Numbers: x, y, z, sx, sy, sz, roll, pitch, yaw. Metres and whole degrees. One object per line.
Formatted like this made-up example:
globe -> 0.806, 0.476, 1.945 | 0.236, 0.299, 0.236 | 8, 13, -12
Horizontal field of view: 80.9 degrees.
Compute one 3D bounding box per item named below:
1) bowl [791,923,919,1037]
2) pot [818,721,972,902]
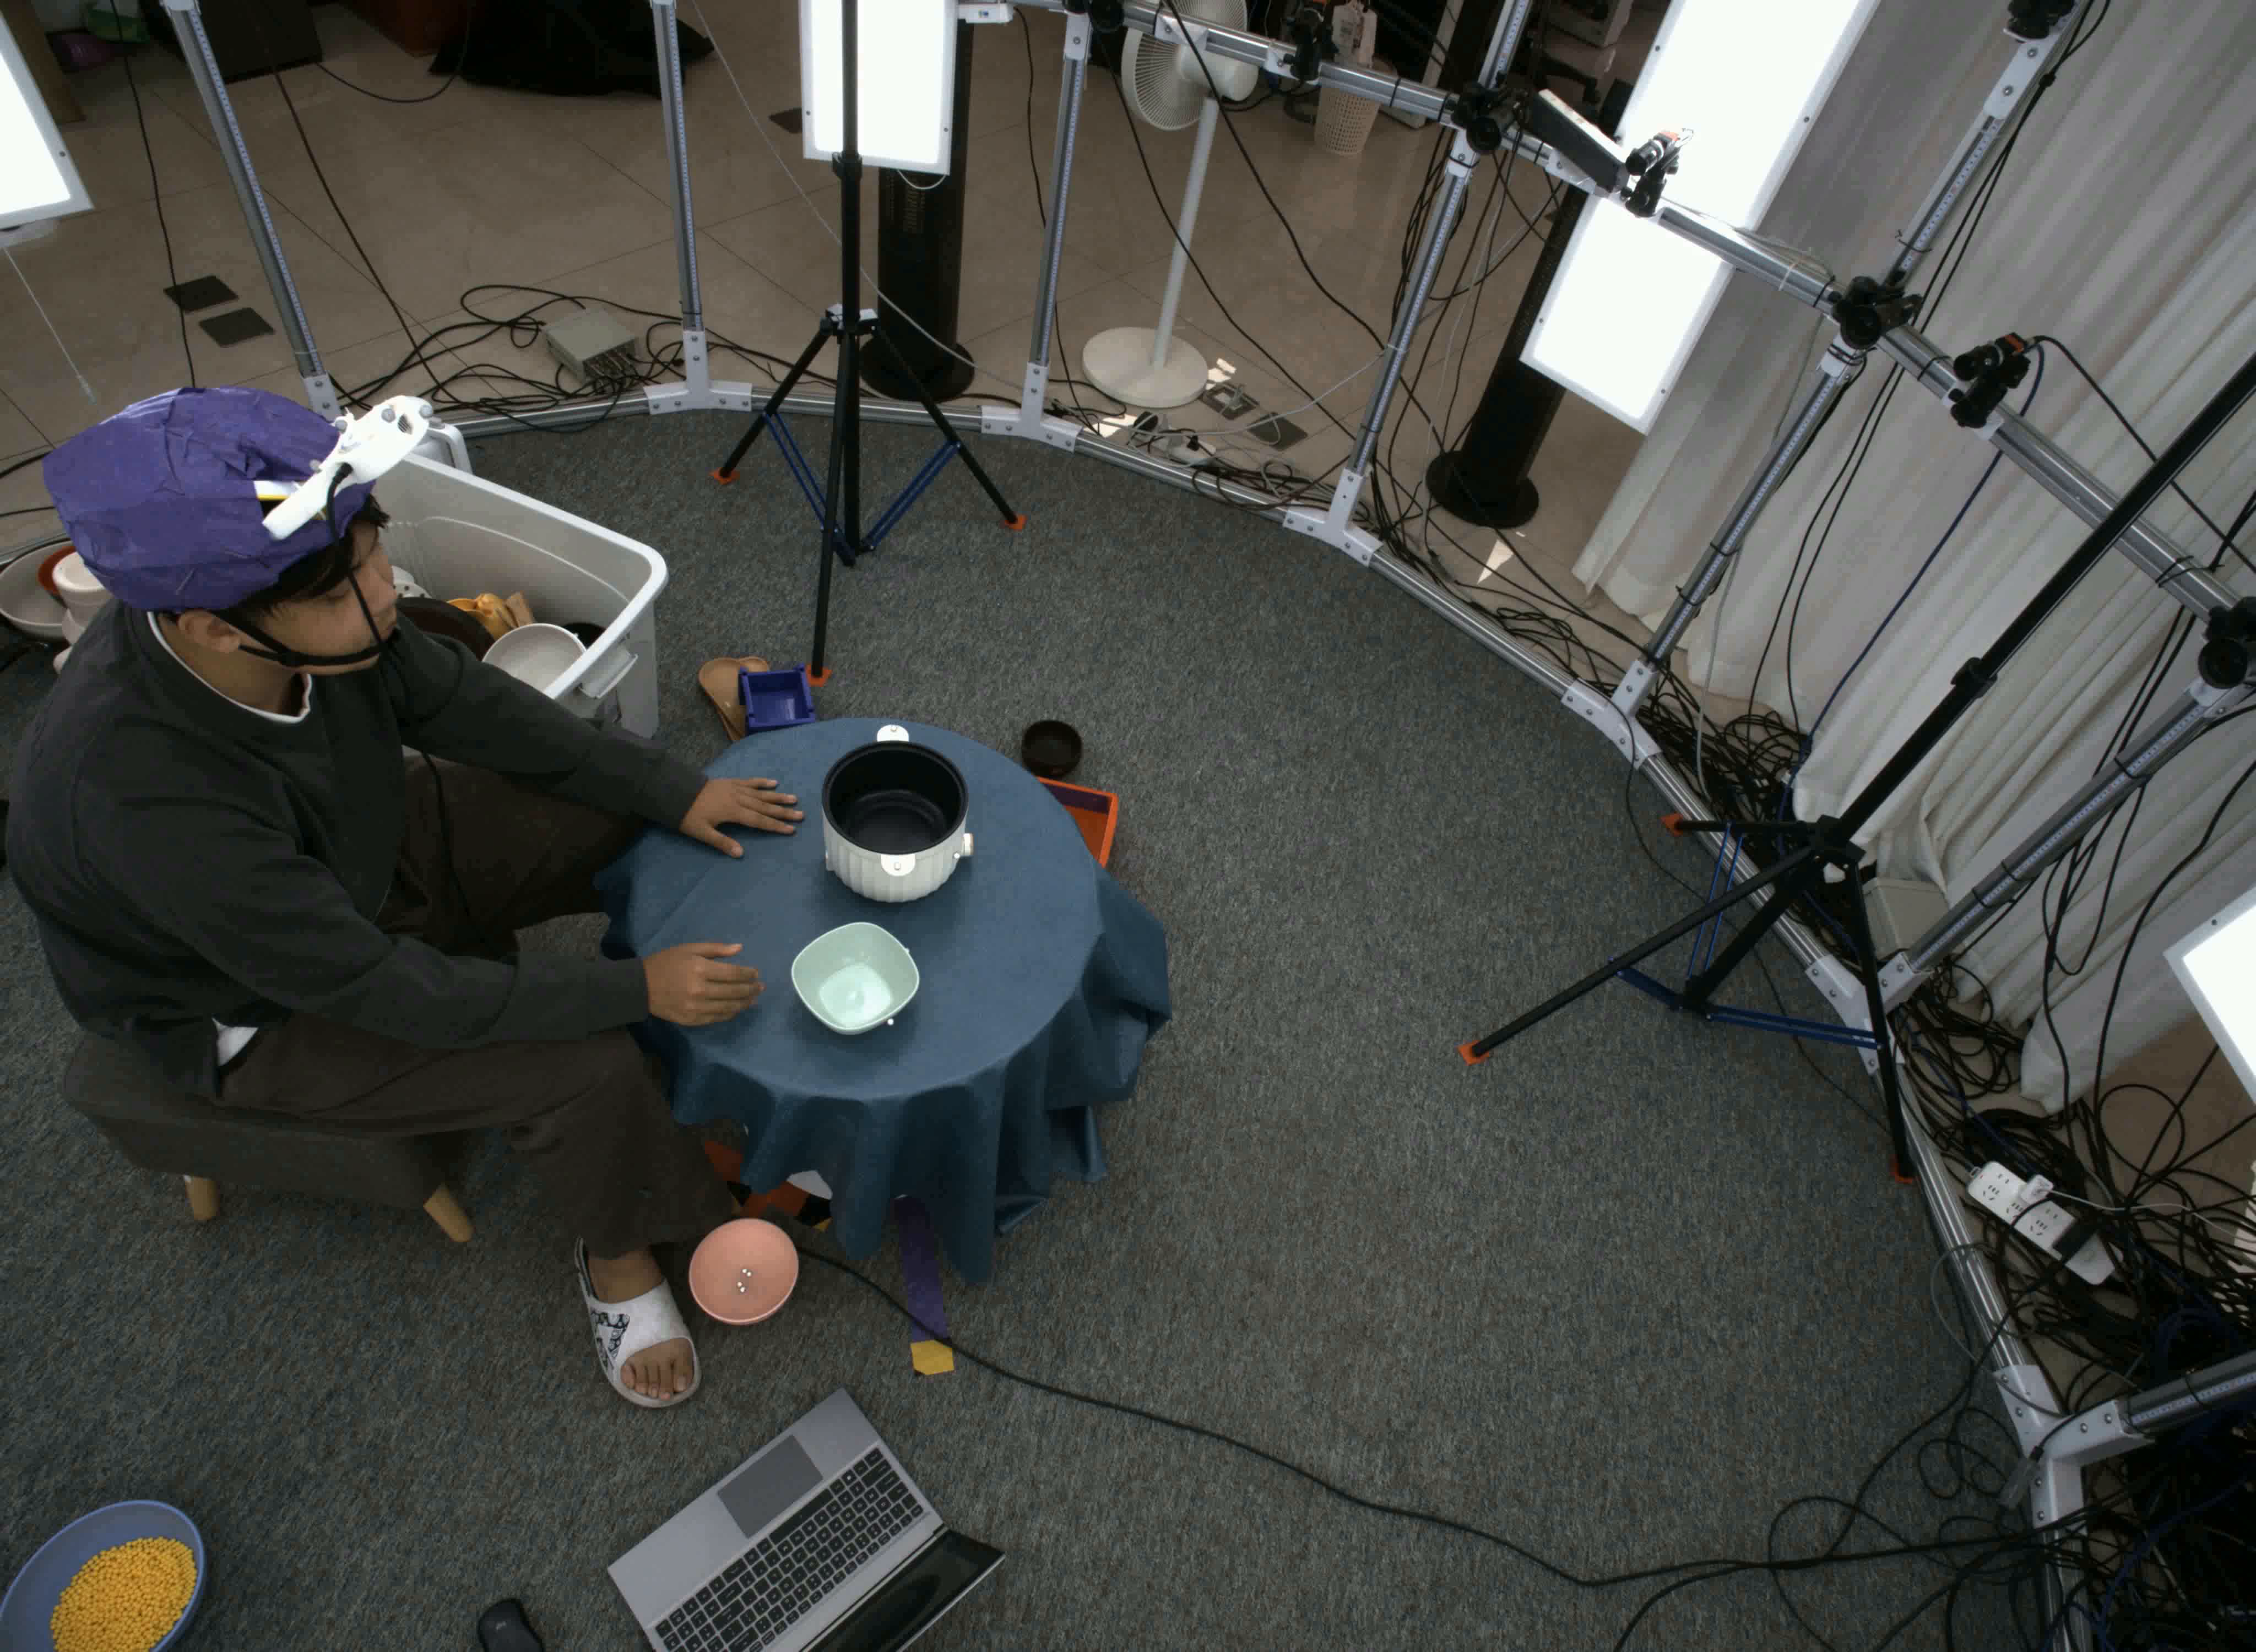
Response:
bowl -> -0.328, 0.193, 1.563 | 0.151, 0.060, 0.149 | 9, 51, -9
pot -> -0.295, -0.003, 1.664 | 0.190, 0.146, 0.235 | -4, 56, -12
